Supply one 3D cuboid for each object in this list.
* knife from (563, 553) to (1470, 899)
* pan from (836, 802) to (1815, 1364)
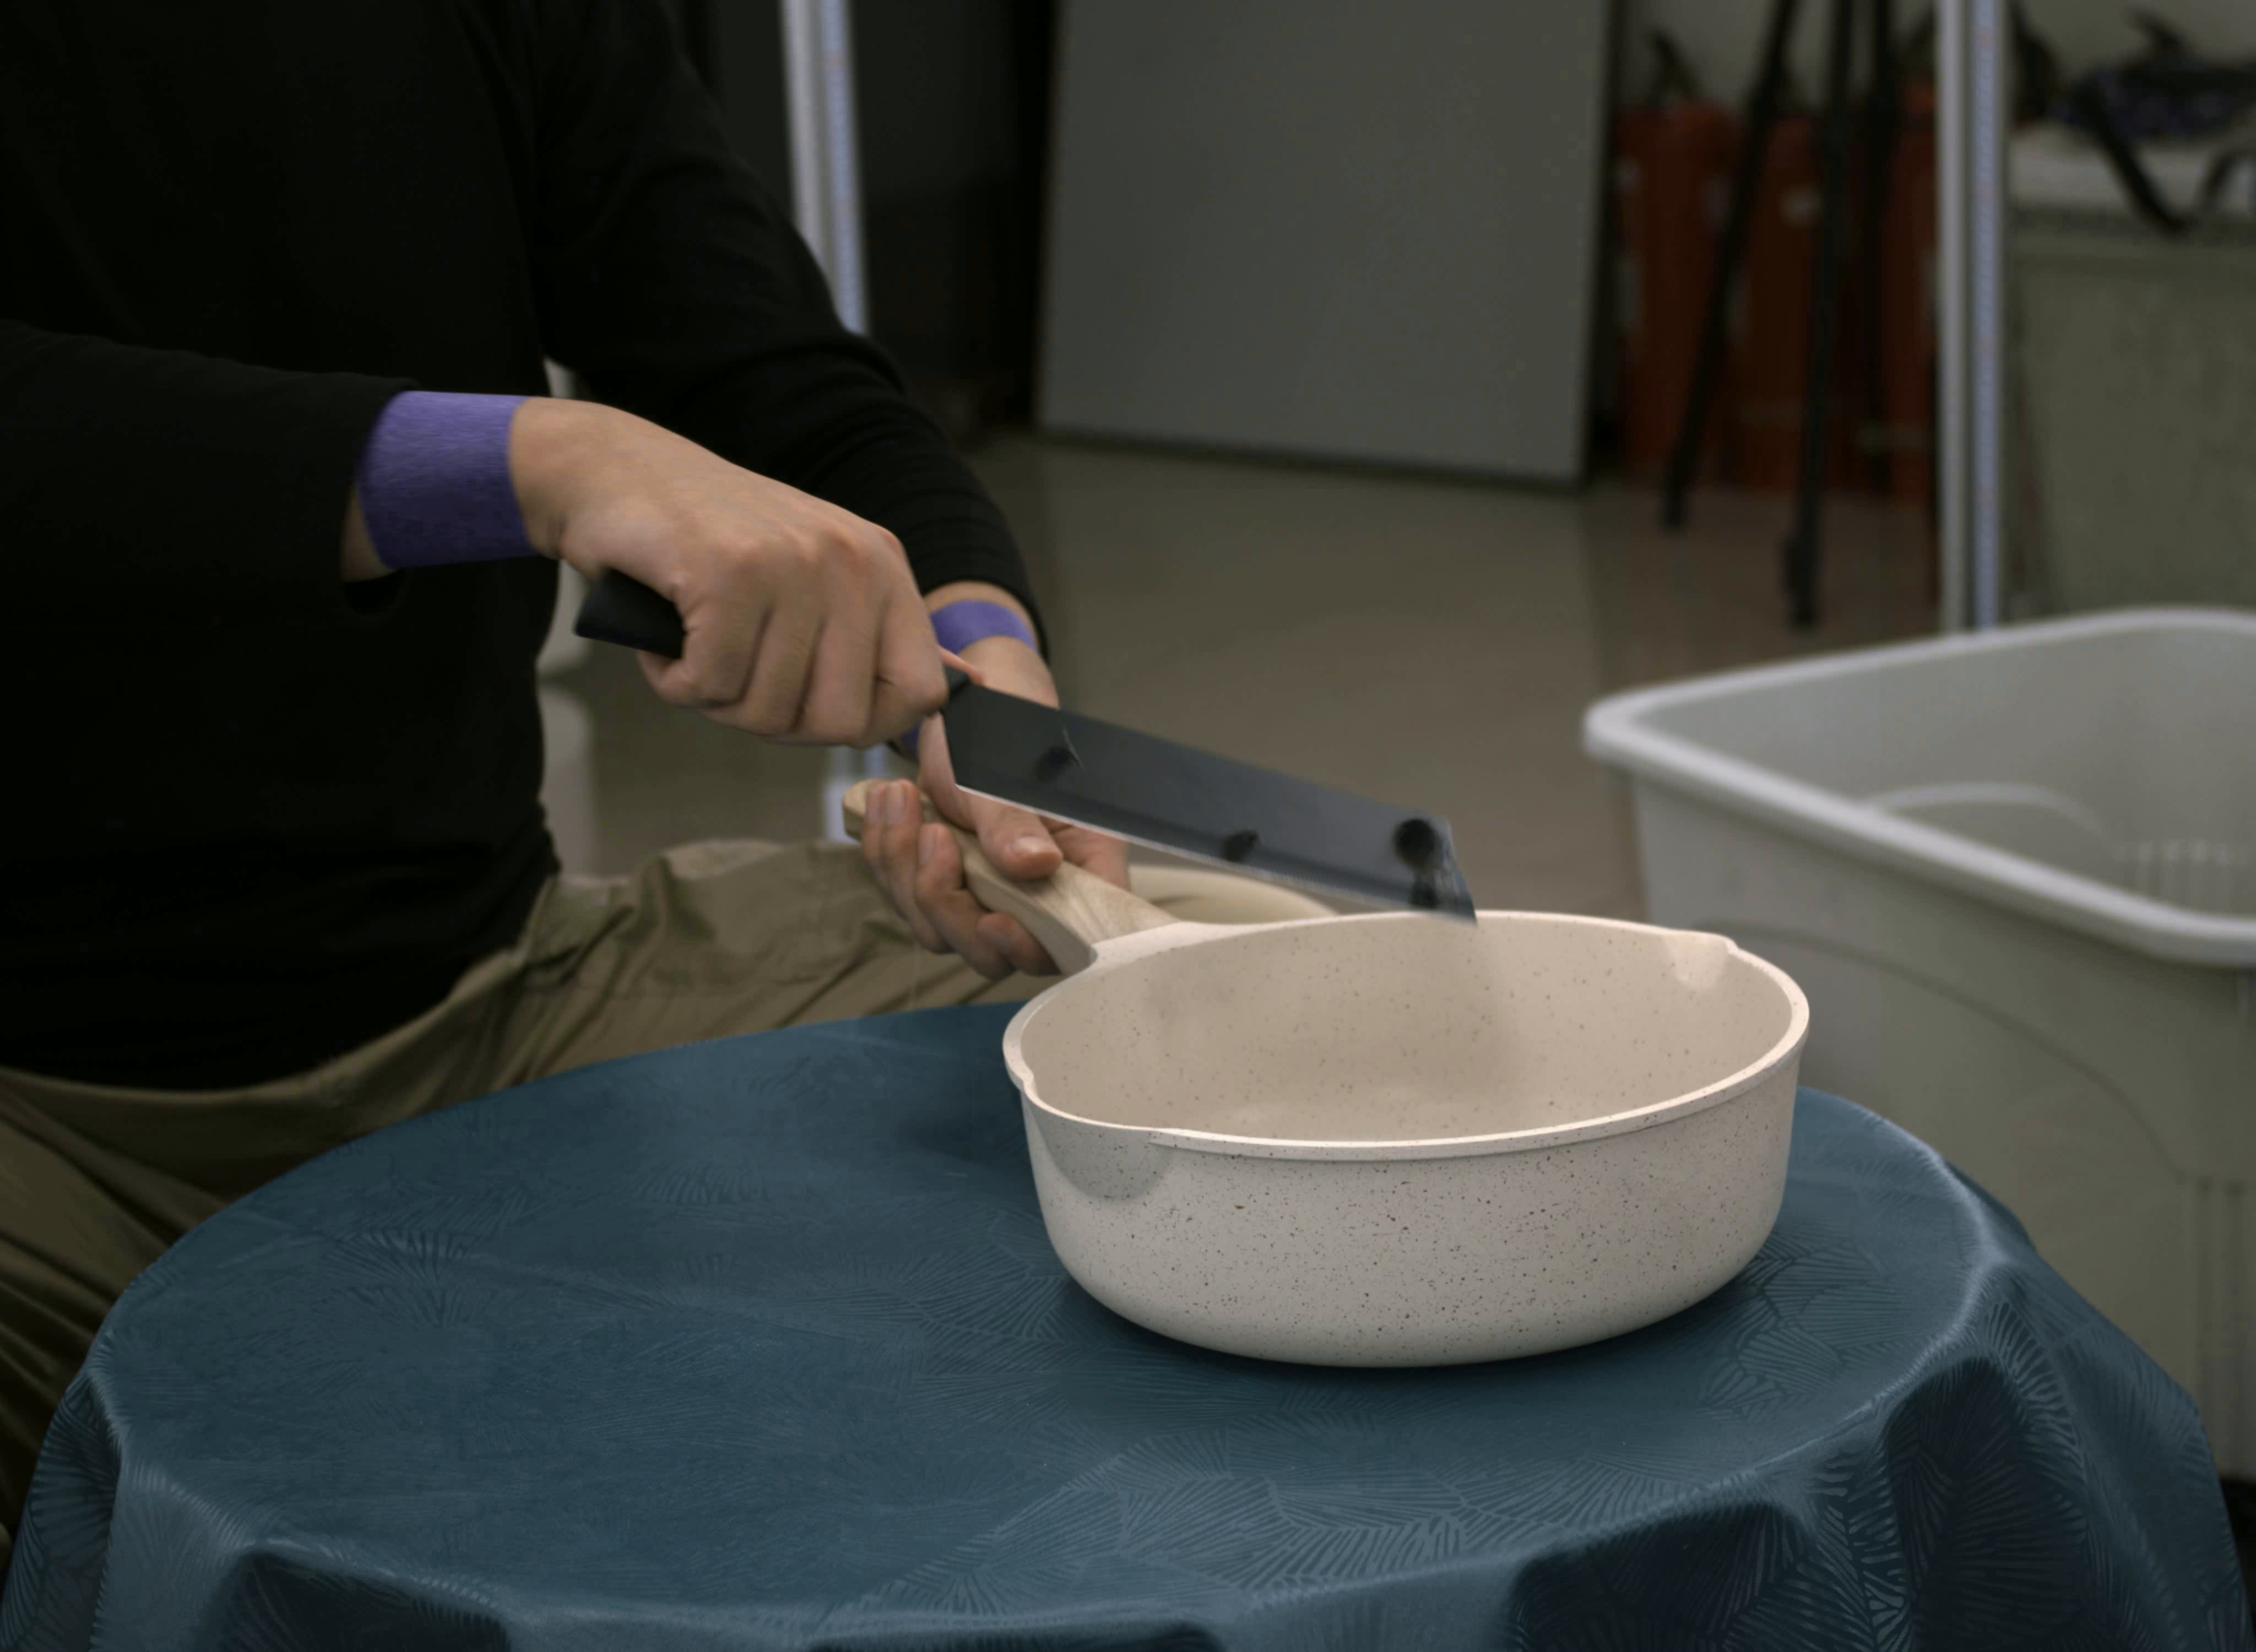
[{"bbox_3d":[-0.032,-0.030,1.683,0.297,0.021,0.081,17,29,-11],"label":"knife"},{"bbox_3d":[0.037,0.074,1.747,0.258,0.103,0.439,-15,17,-32],"label":"pan"}]
